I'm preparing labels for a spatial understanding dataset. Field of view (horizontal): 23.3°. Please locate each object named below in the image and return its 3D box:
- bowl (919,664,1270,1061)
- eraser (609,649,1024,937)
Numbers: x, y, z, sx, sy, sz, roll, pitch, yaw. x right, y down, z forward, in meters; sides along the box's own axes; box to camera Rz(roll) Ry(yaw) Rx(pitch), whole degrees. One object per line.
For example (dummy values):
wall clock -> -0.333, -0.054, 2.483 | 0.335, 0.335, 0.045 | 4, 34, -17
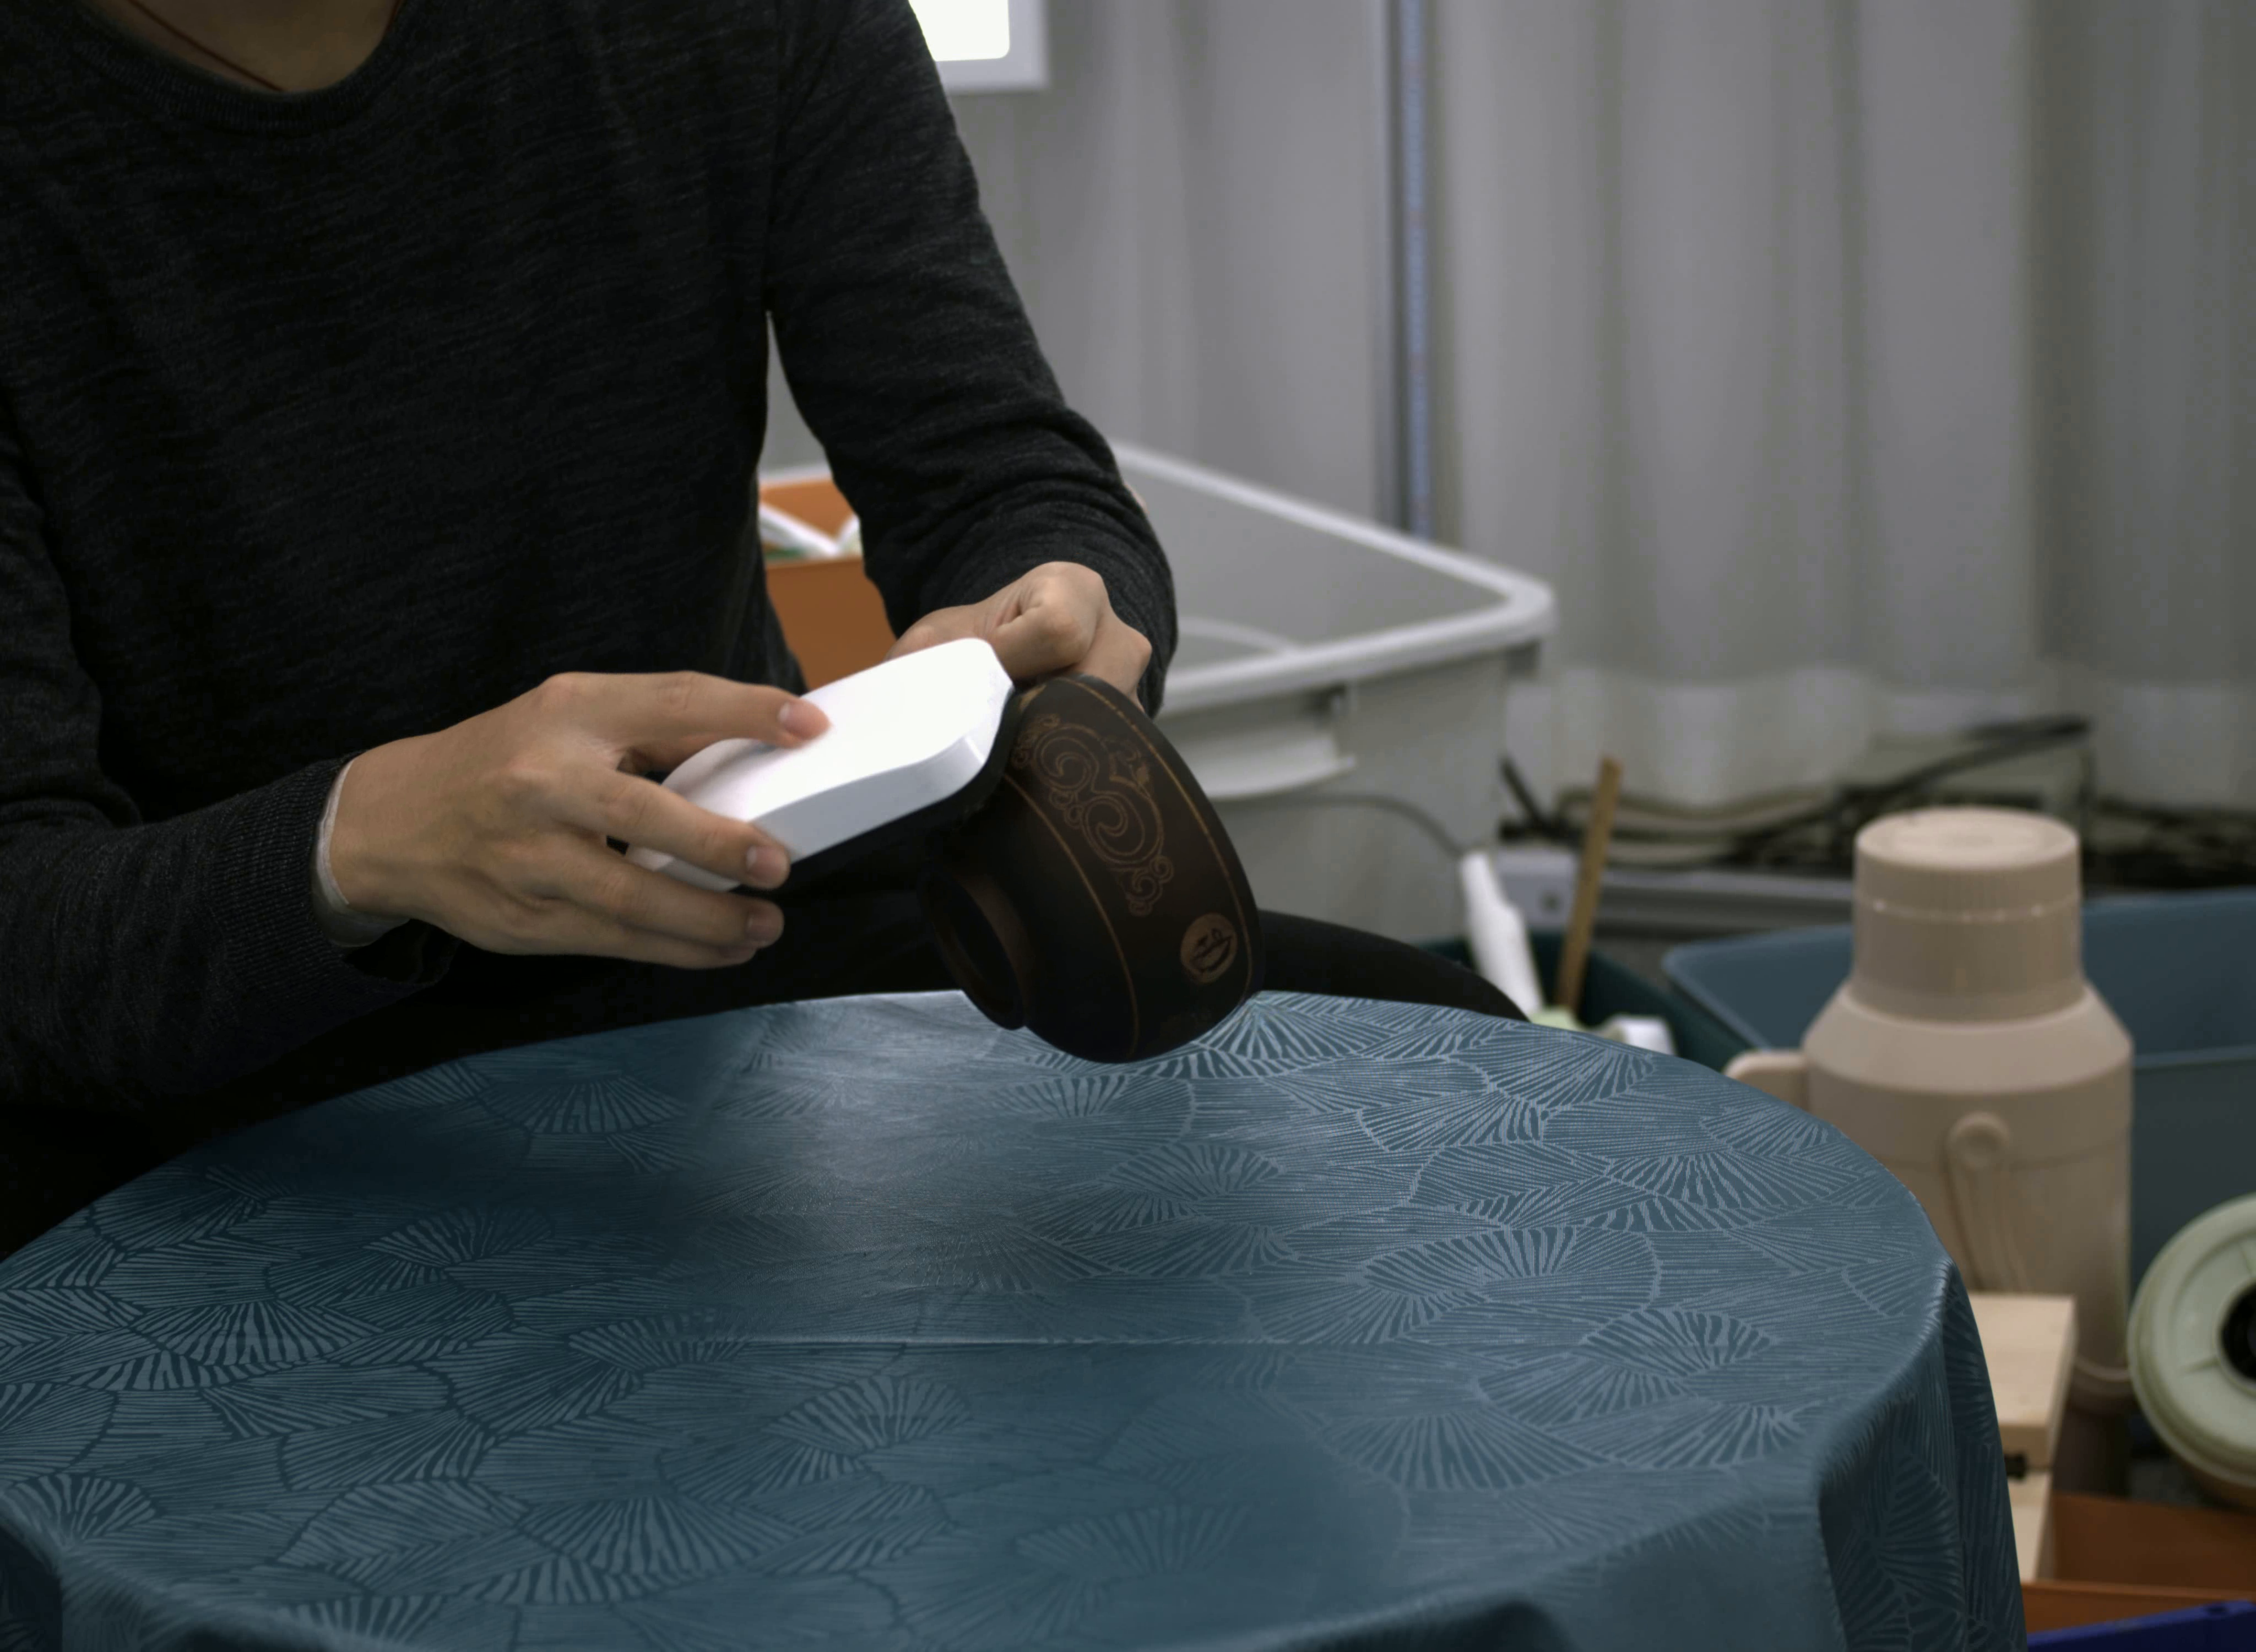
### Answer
bowl -> -0.018, 0.018, 1.624 | 0.070, 0.117, 0.119 | -30, 25, -21
eraser -> -0.092, -0.012, 1.608 | 0.131, 0.034, 0.064 | -21, 29, 29
